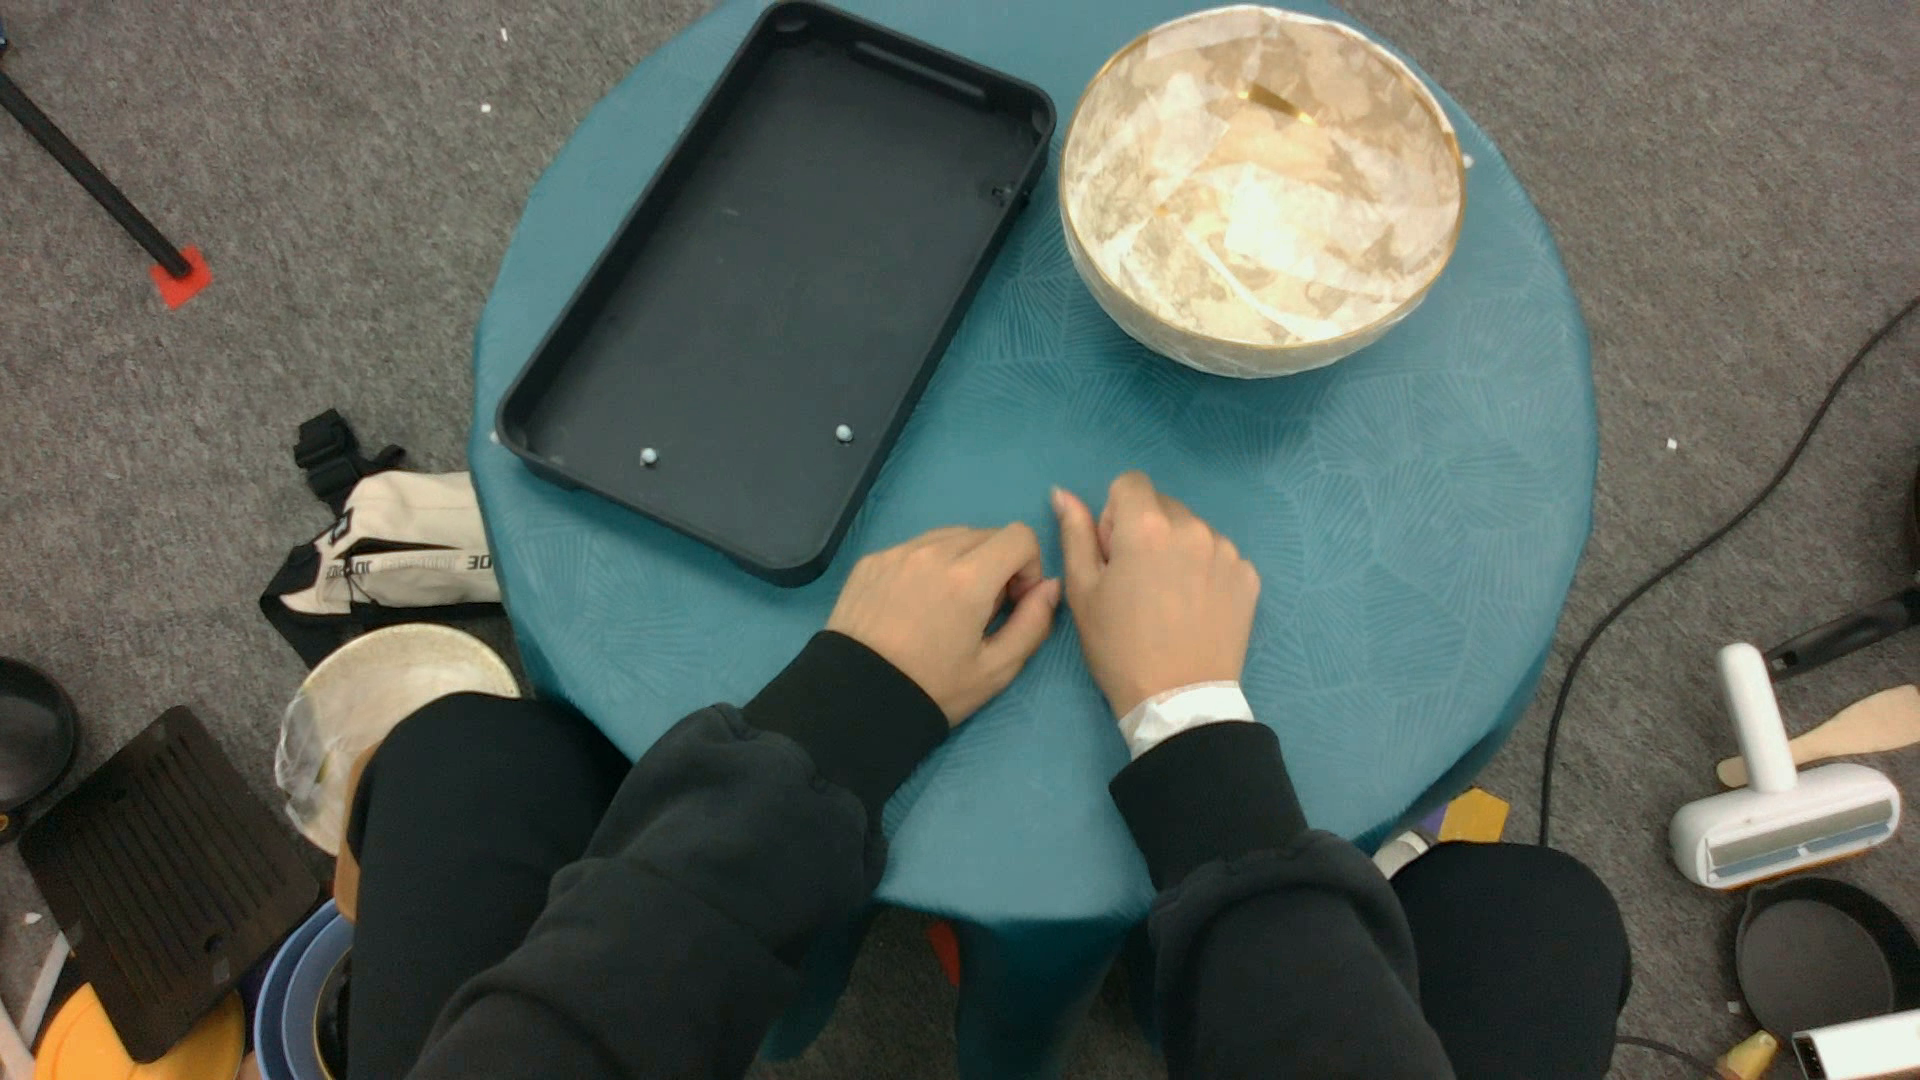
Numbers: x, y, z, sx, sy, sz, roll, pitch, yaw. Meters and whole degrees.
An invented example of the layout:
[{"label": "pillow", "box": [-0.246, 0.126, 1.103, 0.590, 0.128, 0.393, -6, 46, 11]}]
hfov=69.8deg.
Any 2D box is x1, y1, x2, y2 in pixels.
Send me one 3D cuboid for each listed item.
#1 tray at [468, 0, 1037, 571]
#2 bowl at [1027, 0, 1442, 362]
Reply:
[{"label": "tray", "box": [-0.101, -0.148, 0.741, 0.184, 0.037, 0.319, 25, 68, 9]}, {"label": "bowl", "box": [0.133, -0.171, 0.723, 0.215, 0.094, 0.215, 1, 68, -2]}]
